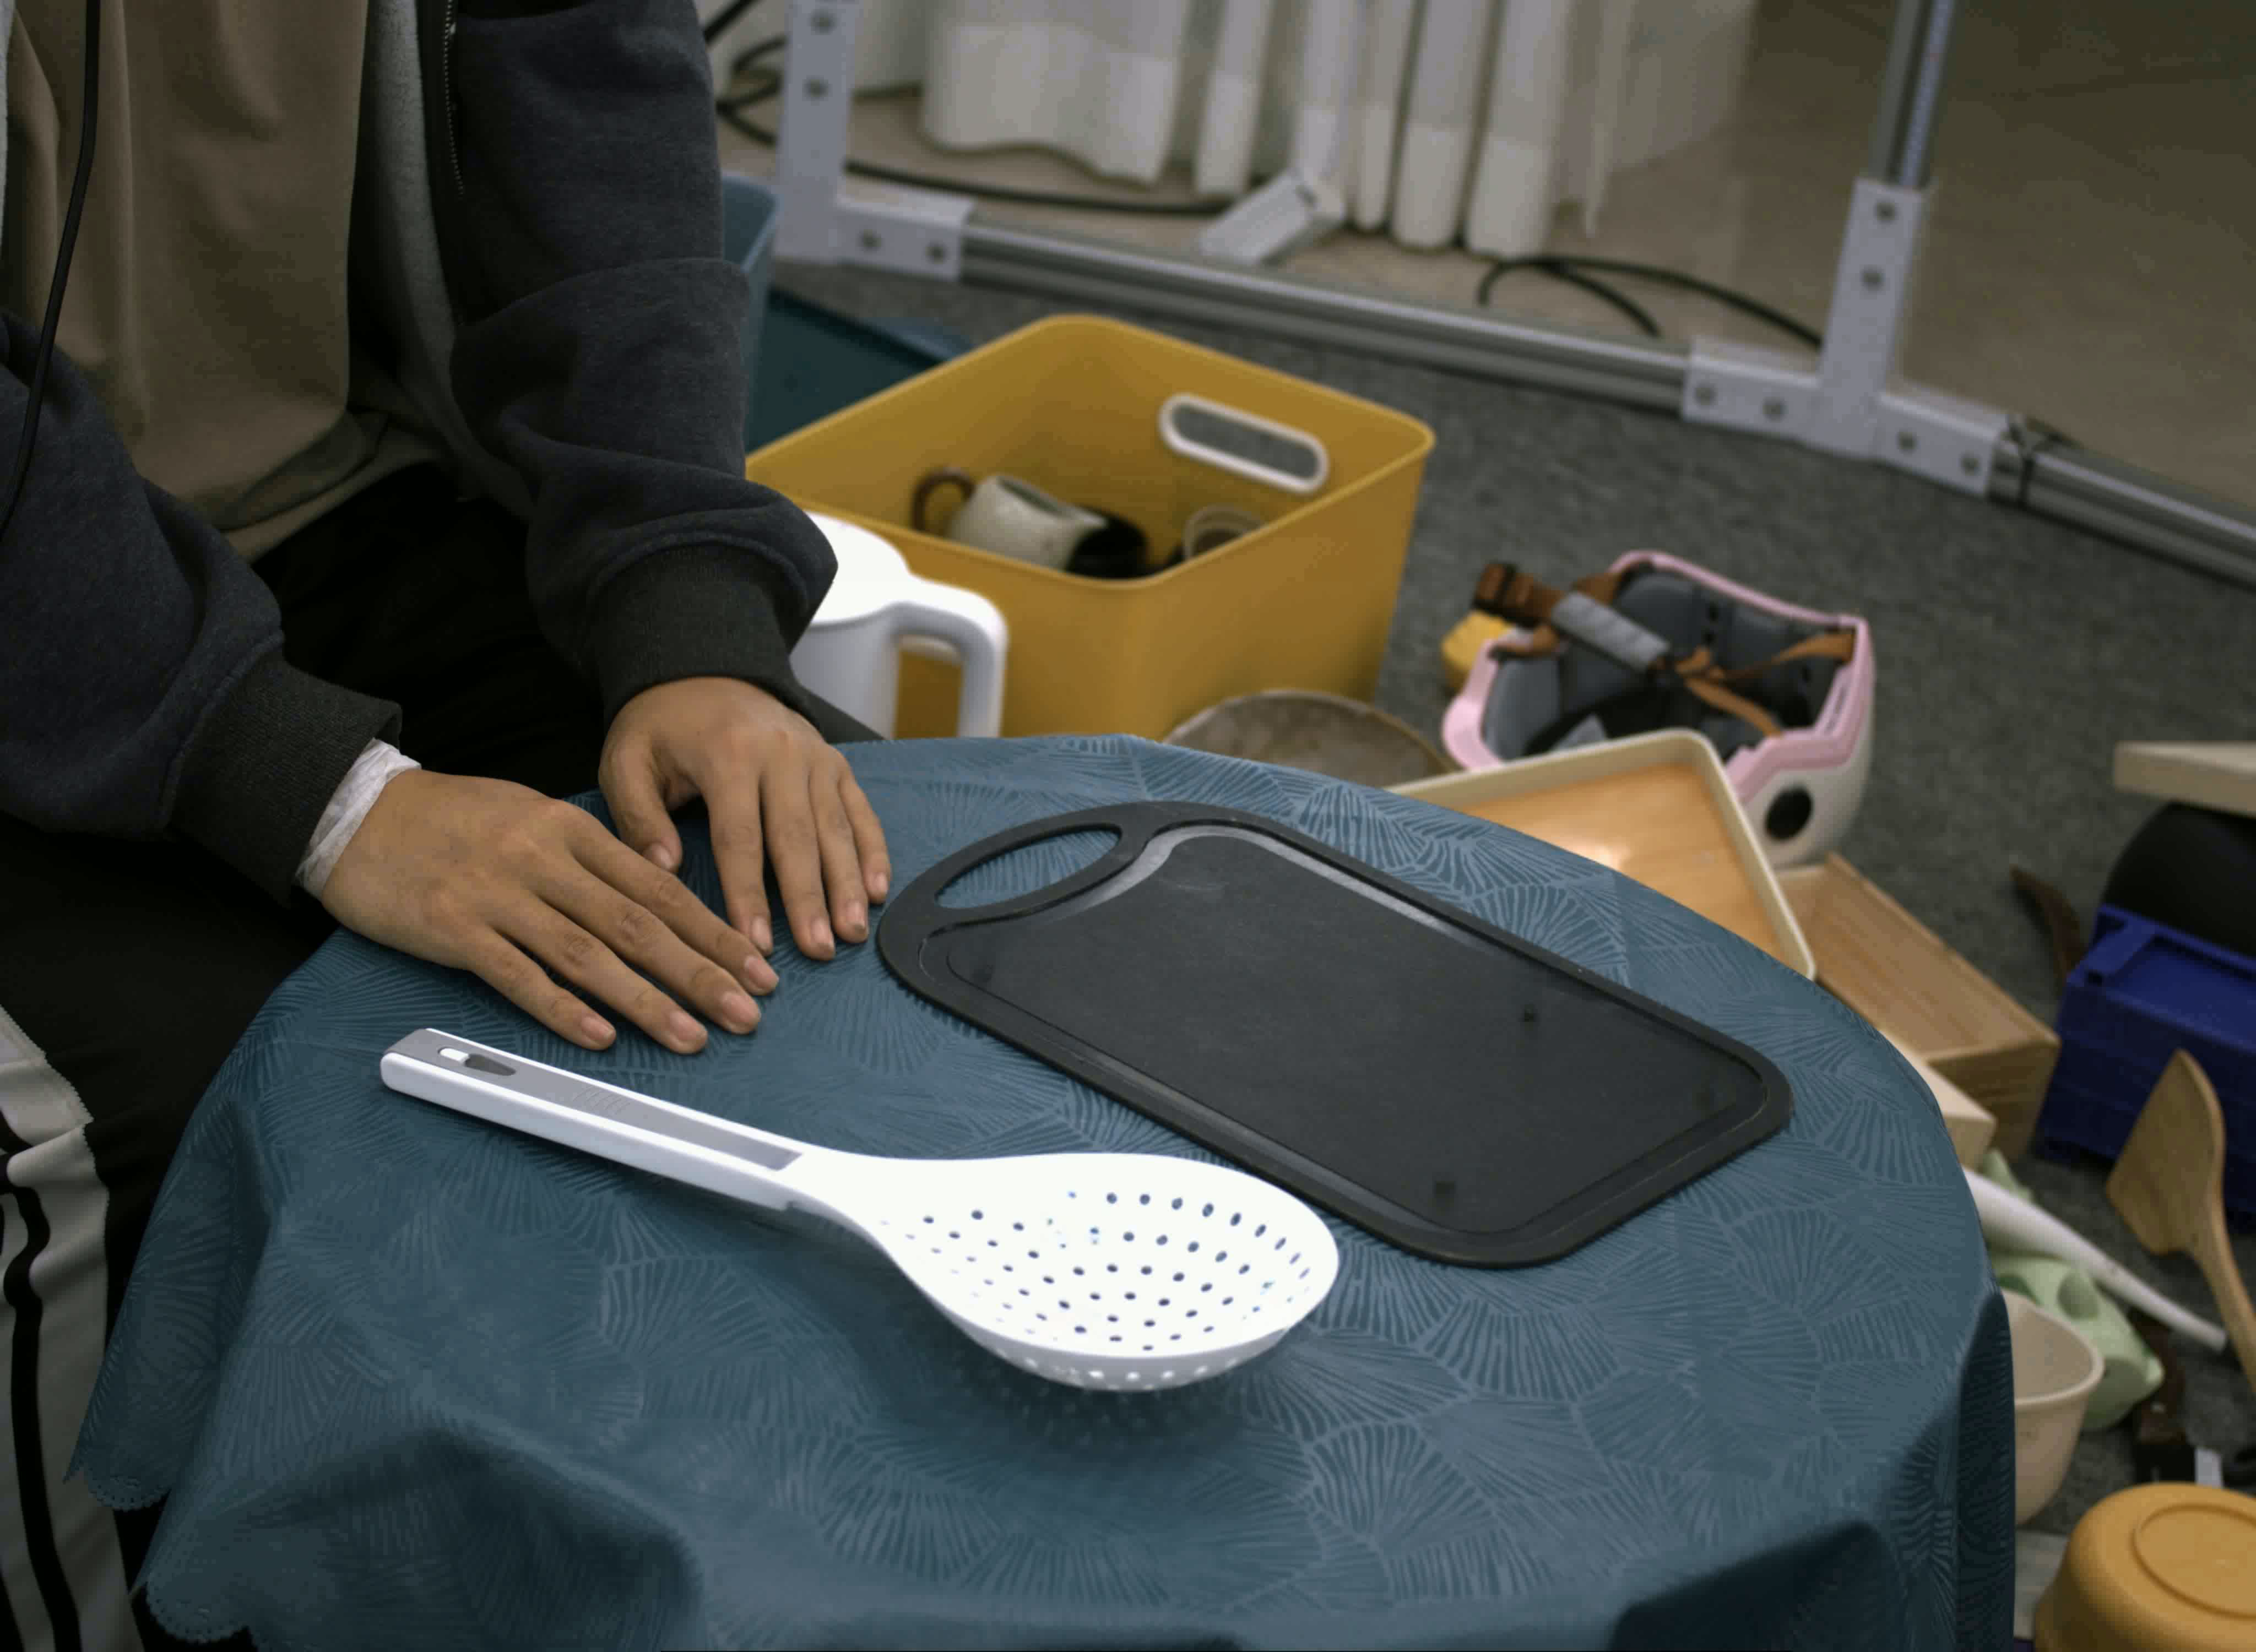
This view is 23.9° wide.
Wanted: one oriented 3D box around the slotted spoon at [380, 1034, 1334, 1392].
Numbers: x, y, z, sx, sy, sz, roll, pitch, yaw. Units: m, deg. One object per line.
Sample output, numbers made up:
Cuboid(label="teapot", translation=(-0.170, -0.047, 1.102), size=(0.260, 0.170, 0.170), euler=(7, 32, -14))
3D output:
Cuboid(label="slotted spoon", translation=(-0.097, 0.119, 1.739), size=(0.351, 0.045, 0.136), euler=(18, 27, 24))

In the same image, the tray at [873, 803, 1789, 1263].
Cuboid(label="tray", translation=(0.065, 0.066, 1.923), size=(0.327, 0.010, 0.210), euler=(26, 33, 34))
